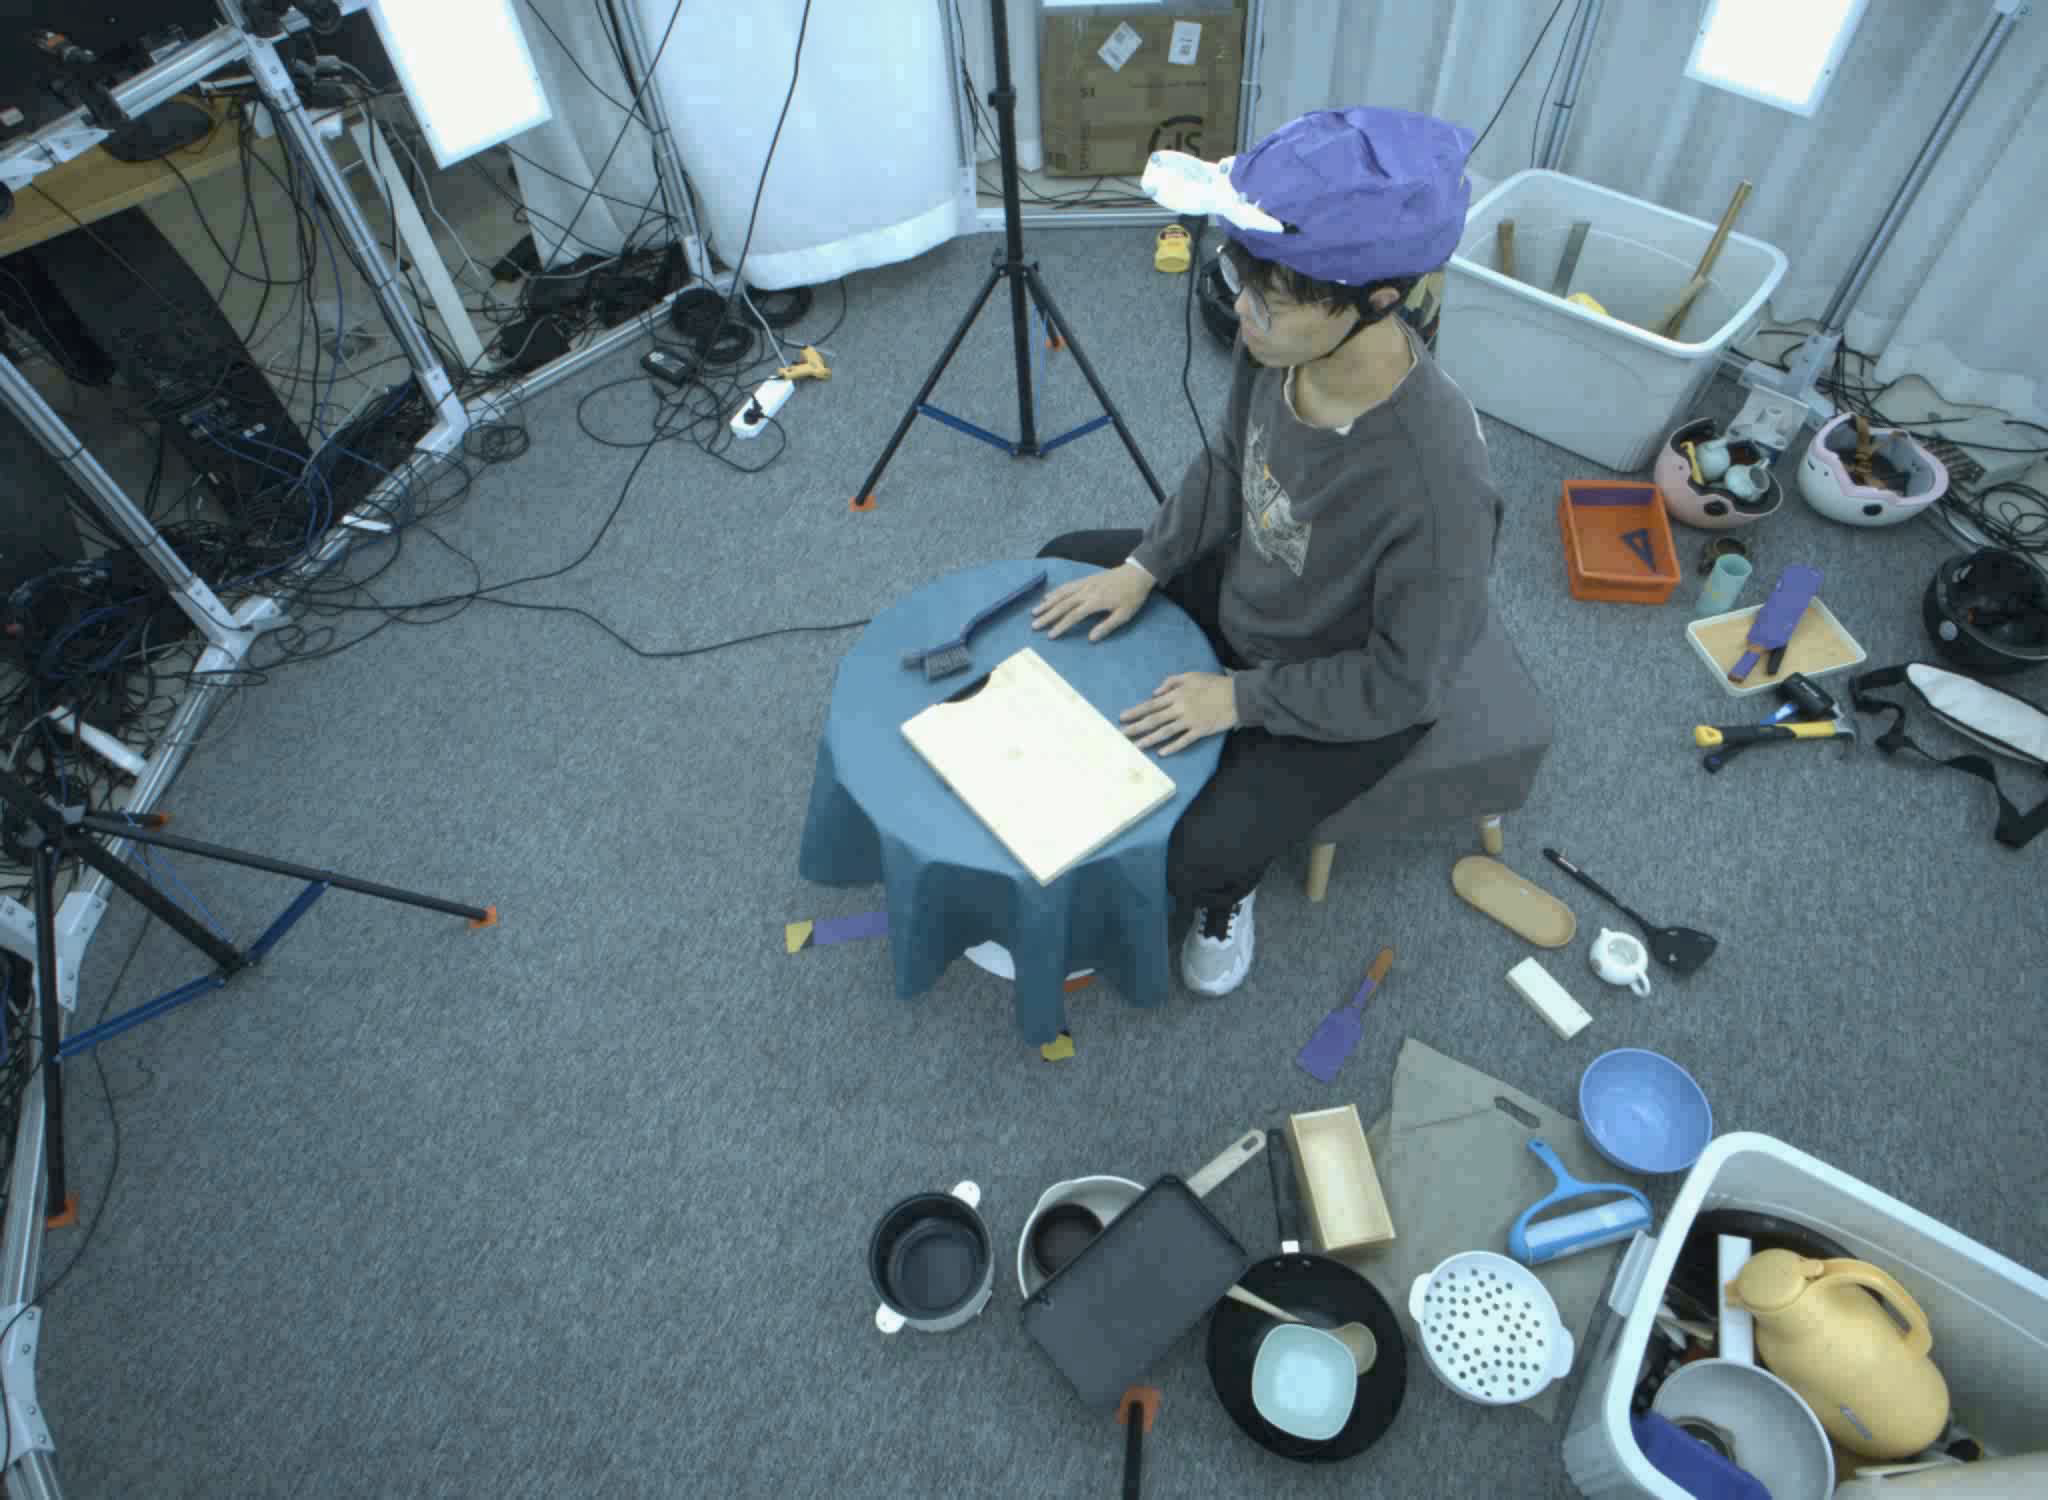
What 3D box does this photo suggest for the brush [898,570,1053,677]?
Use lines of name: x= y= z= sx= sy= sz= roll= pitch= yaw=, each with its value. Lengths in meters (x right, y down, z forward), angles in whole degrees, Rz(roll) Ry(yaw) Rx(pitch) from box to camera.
brush: x=-0.070 y=-0.207 z=1.917 sx=0.094 sy=0.034 sz=0.275 roll=36 pitch=64 yaw=25

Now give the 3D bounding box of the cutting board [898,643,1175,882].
cutting board: x=0.013 y=0.009 z=1.768 sx=0.253 sy=0.024 sz=0.342 roll=-34 pitch=60 yaw=-21
